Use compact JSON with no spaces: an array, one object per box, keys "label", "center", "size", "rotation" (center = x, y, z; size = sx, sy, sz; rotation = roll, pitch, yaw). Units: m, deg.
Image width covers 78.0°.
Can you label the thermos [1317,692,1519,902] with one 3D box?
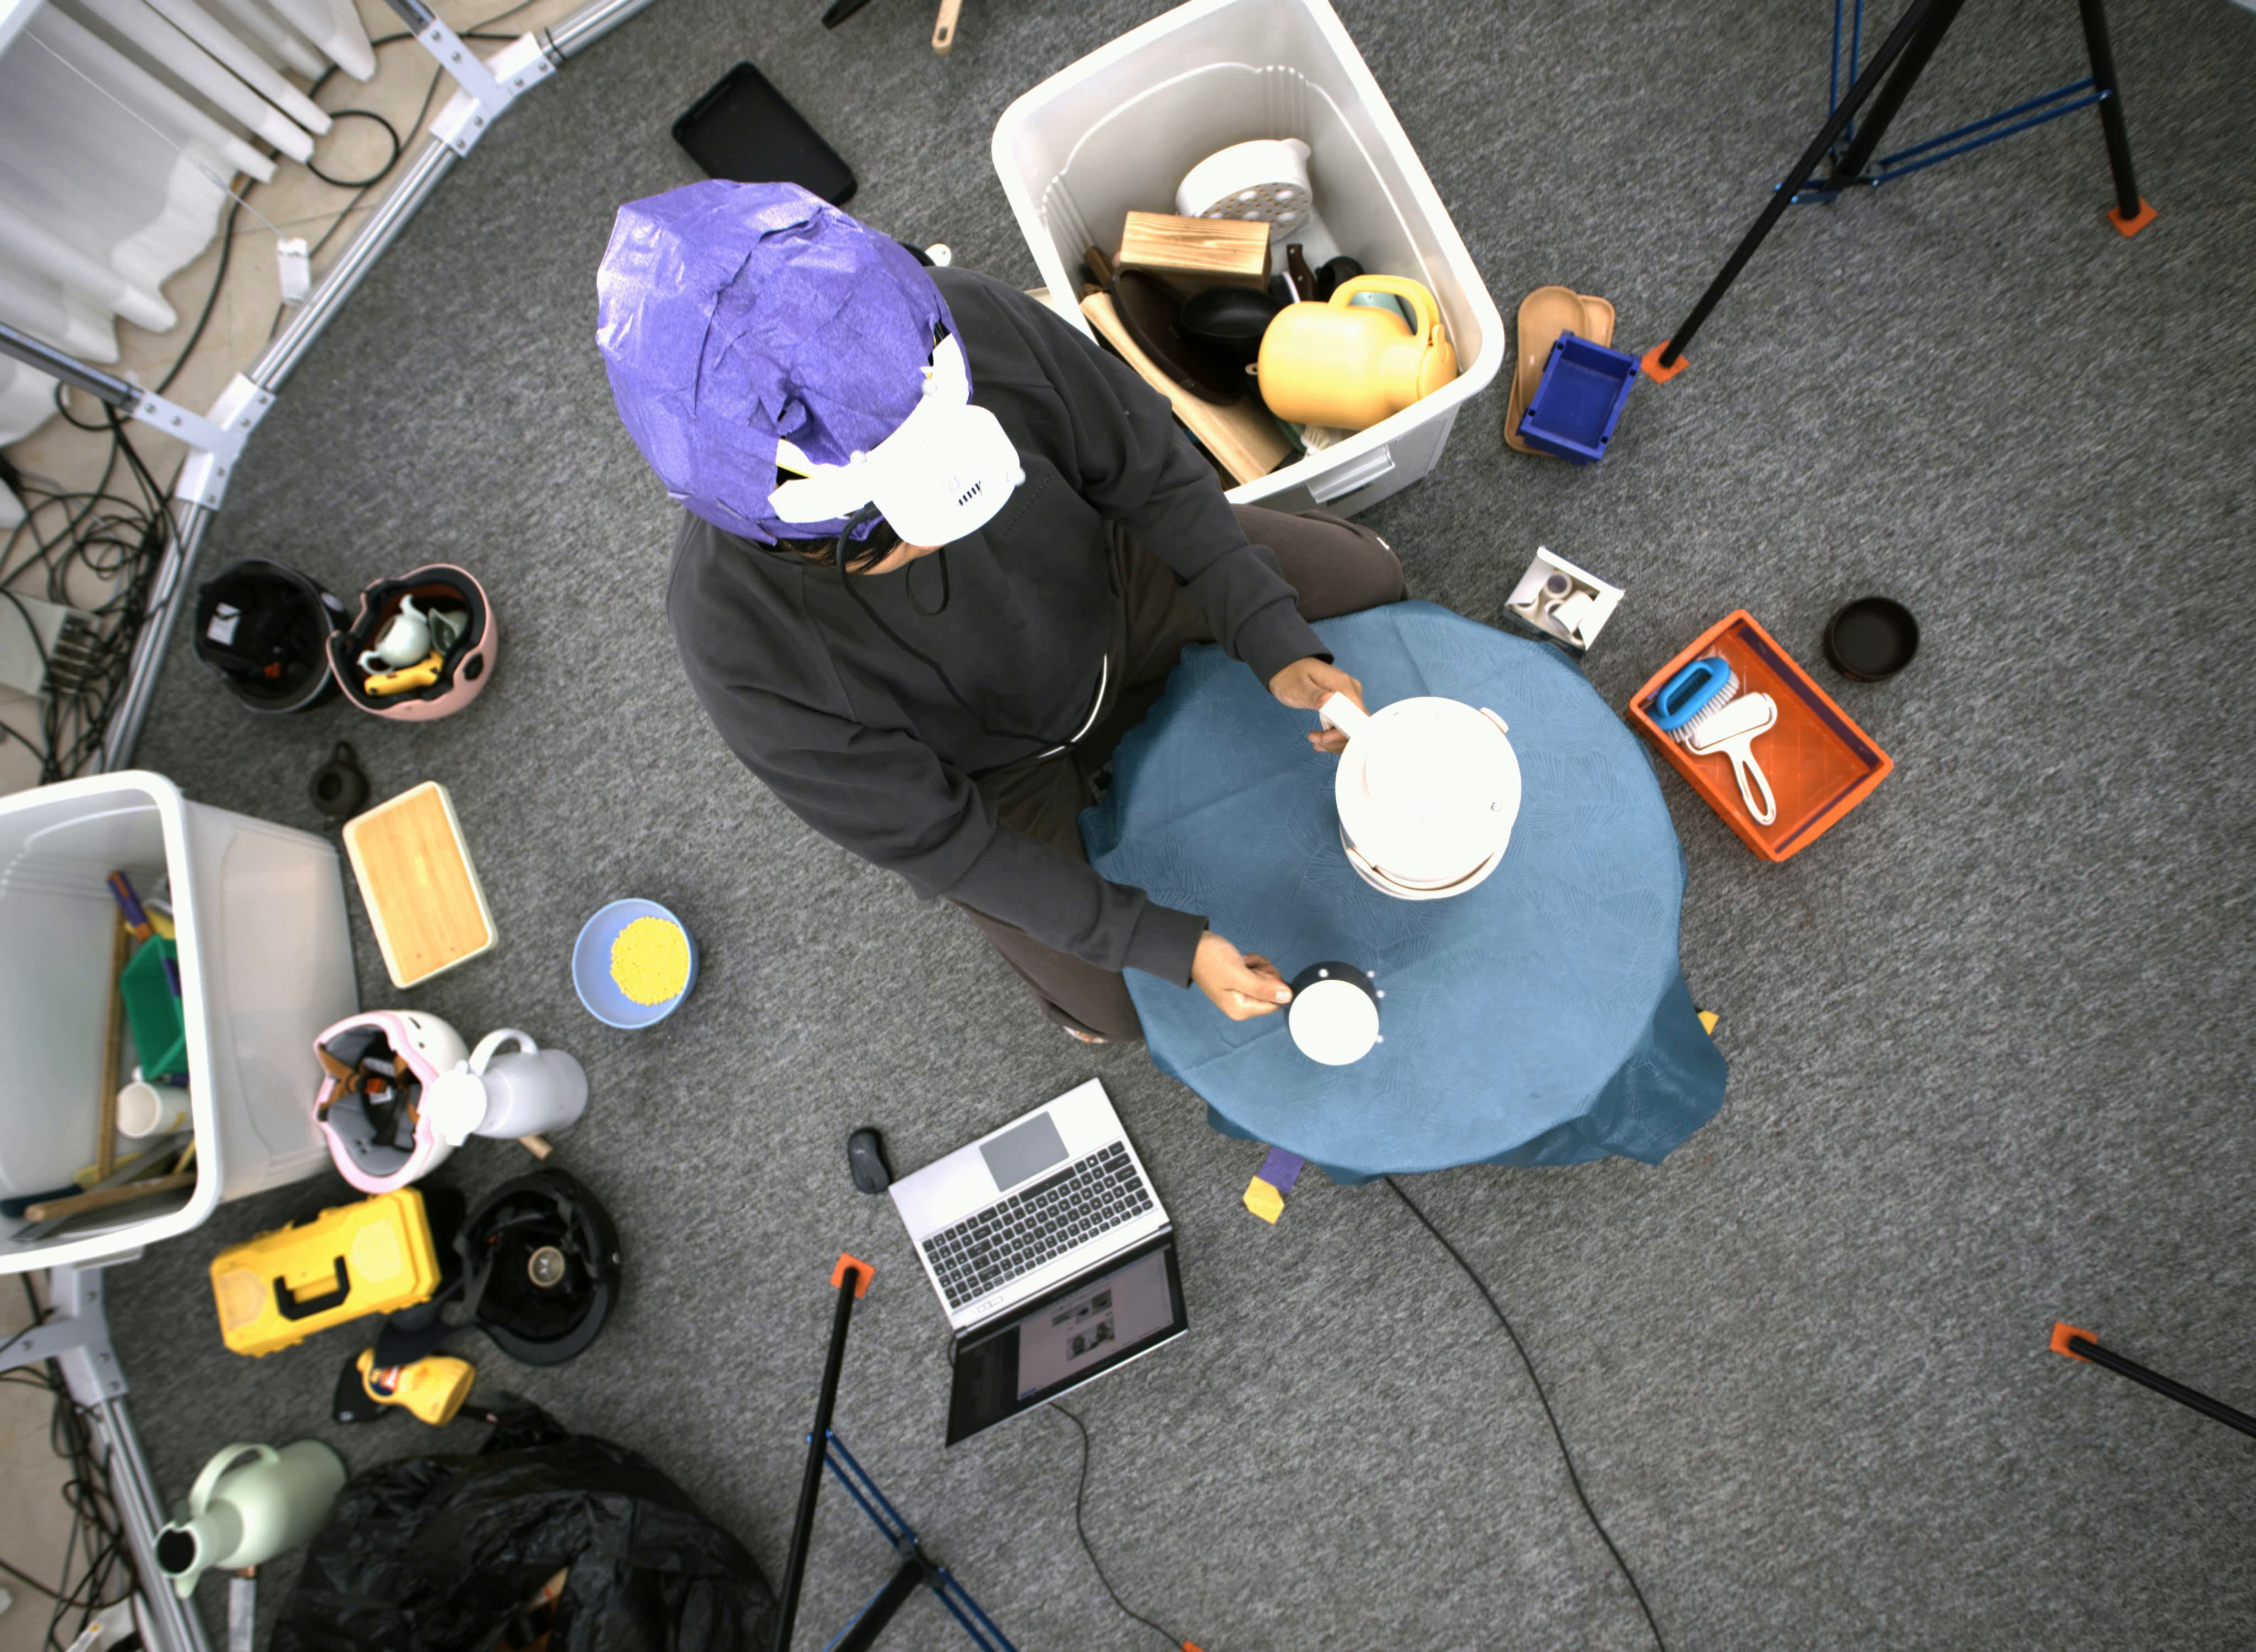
[{"label":"thermos","center":[0.259,-0.033,1.268],"size":[0.206,0.407,0.176],"rotation":[43,93,11]}]

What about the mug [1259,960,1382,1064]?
[{"label":"mug","center":[0.182,0.171,1.316],"size":[0.123,0.089,0.094],"rotation":[23,96,5]}]
